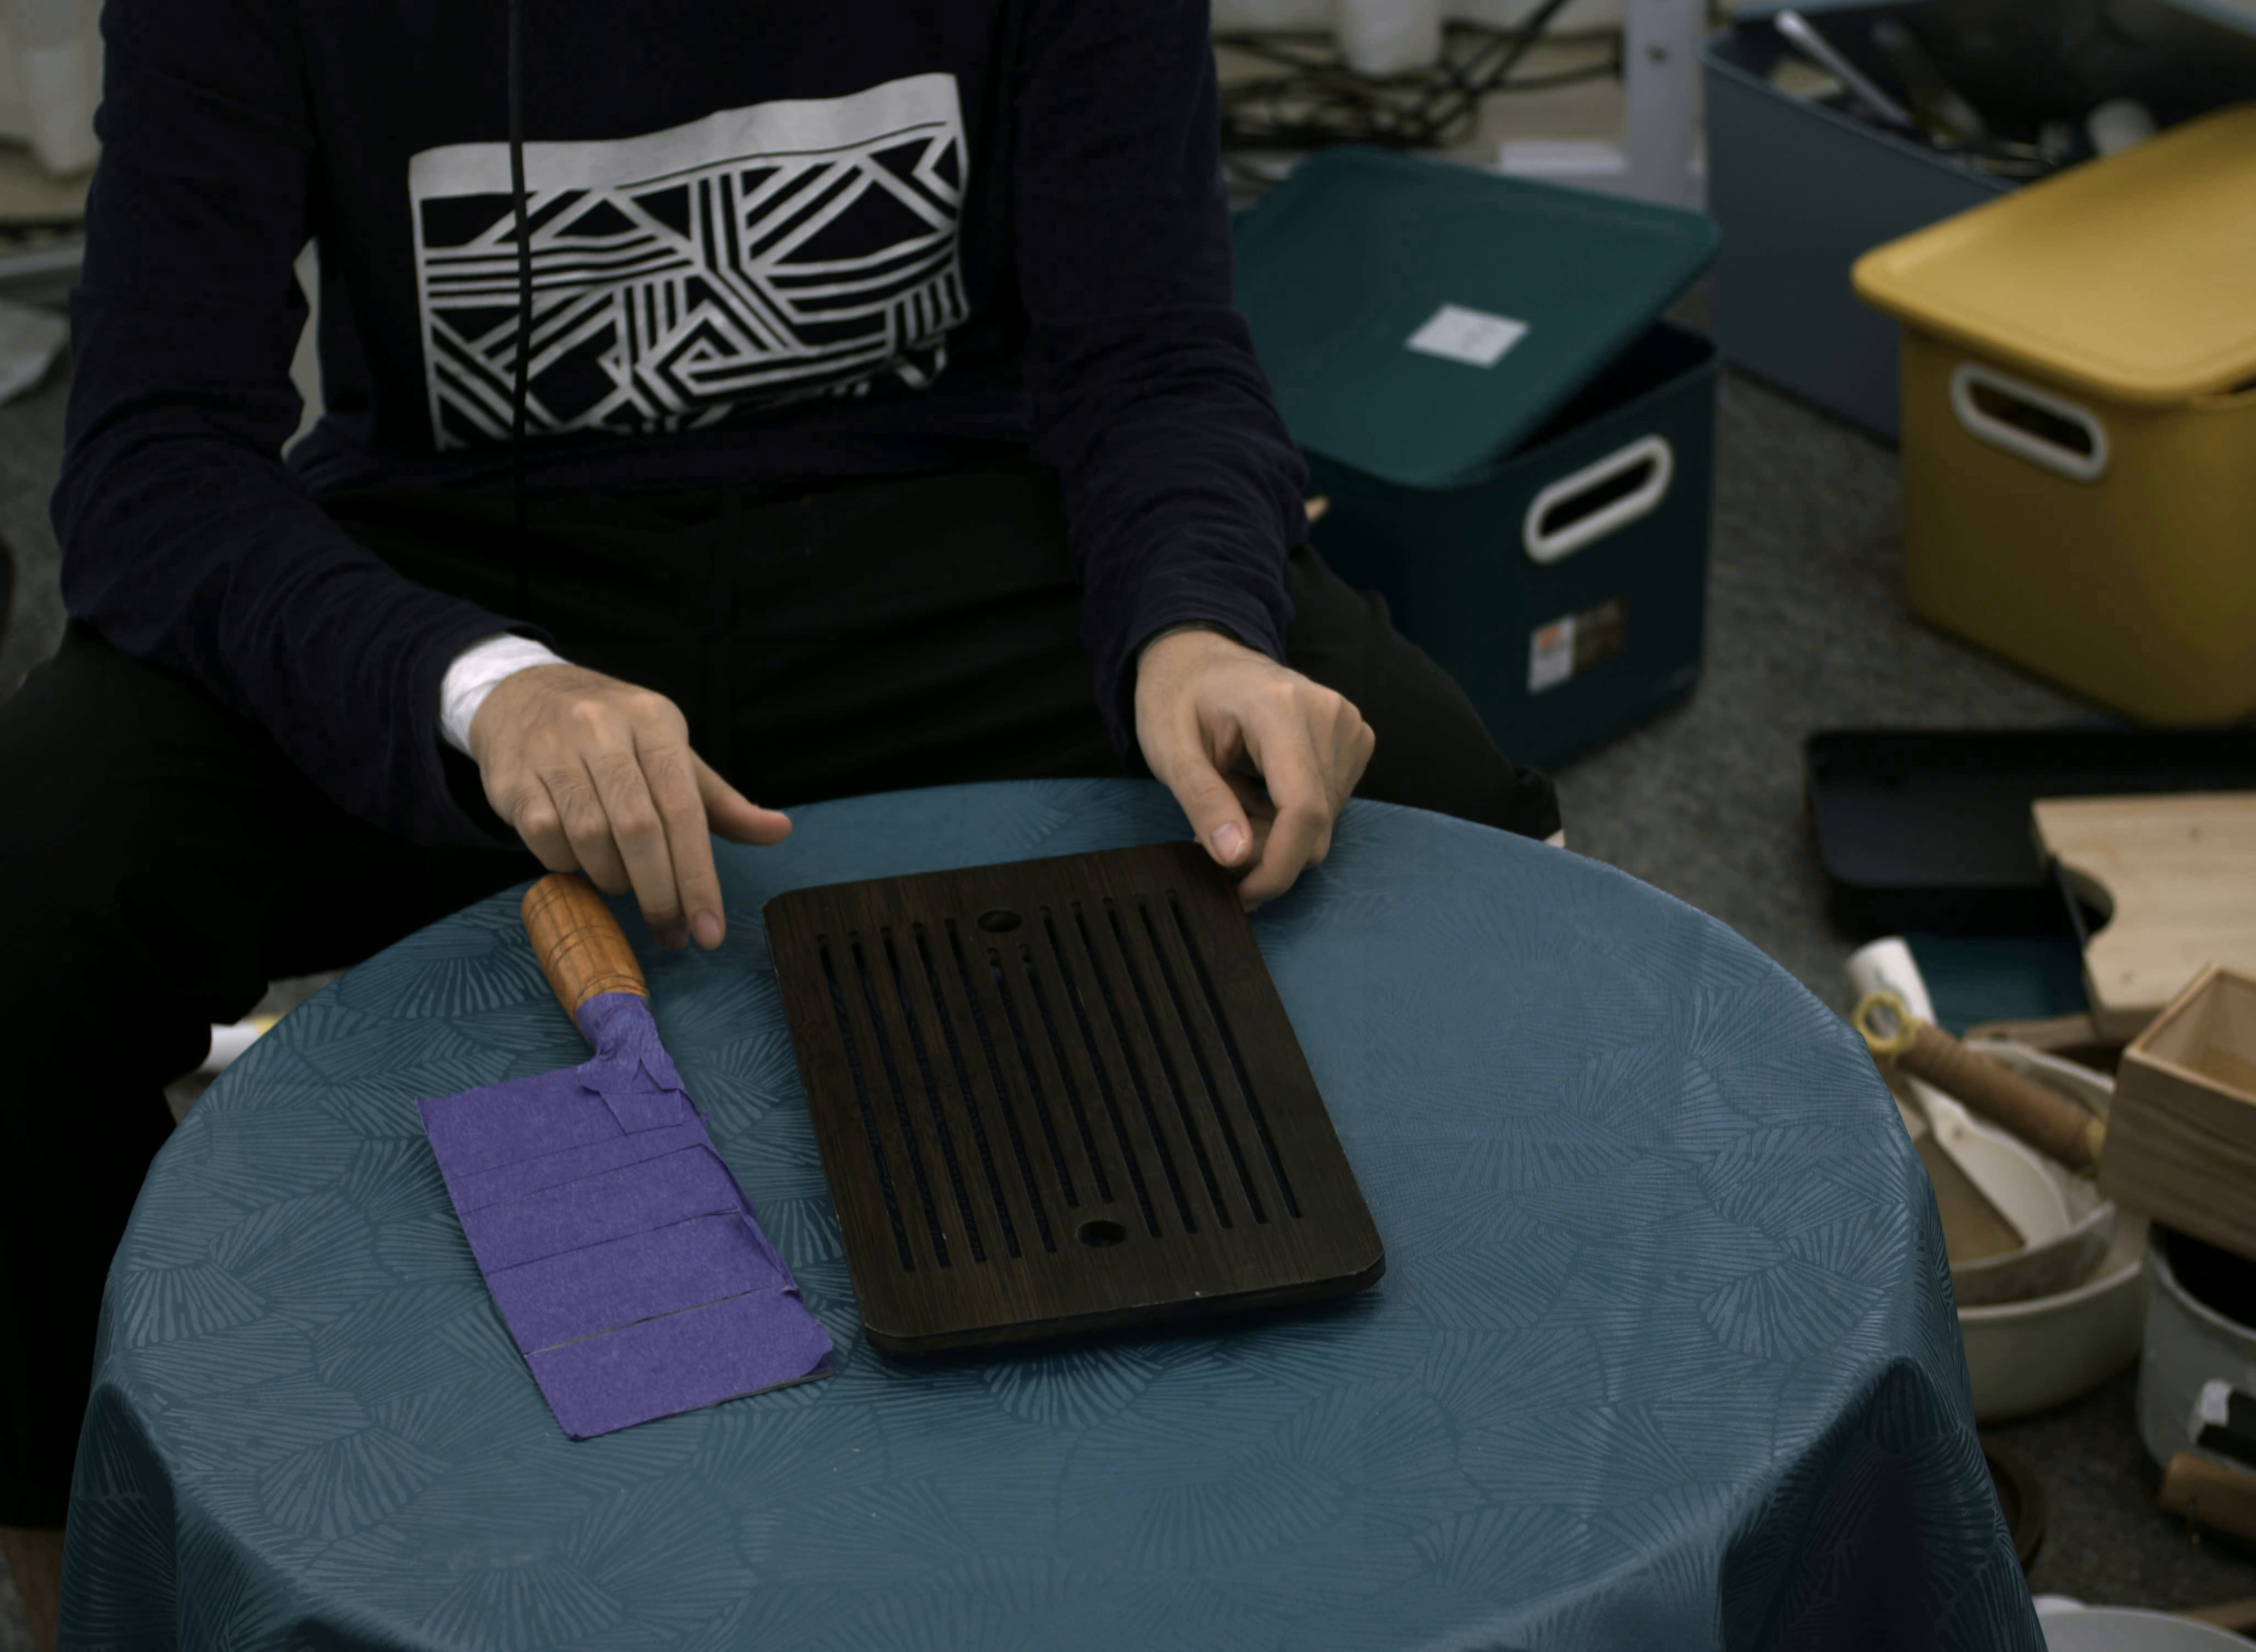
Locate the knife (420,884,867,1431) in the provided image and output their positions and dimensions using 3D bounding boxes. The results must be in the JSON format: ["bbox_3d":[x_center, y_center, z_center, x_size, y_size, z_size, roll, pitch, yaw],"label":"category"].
[{"bbox_3d":[-0.183,0.106,1.879,0.104,0.032,0.318,-12,29,-17],"label":"knife"}]

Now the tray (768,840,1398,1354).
[{"bbox_3d":[-0.021,0.089,1.907,0.170,0.018,0.309,-7,27,-8],"label":"tray"}]
